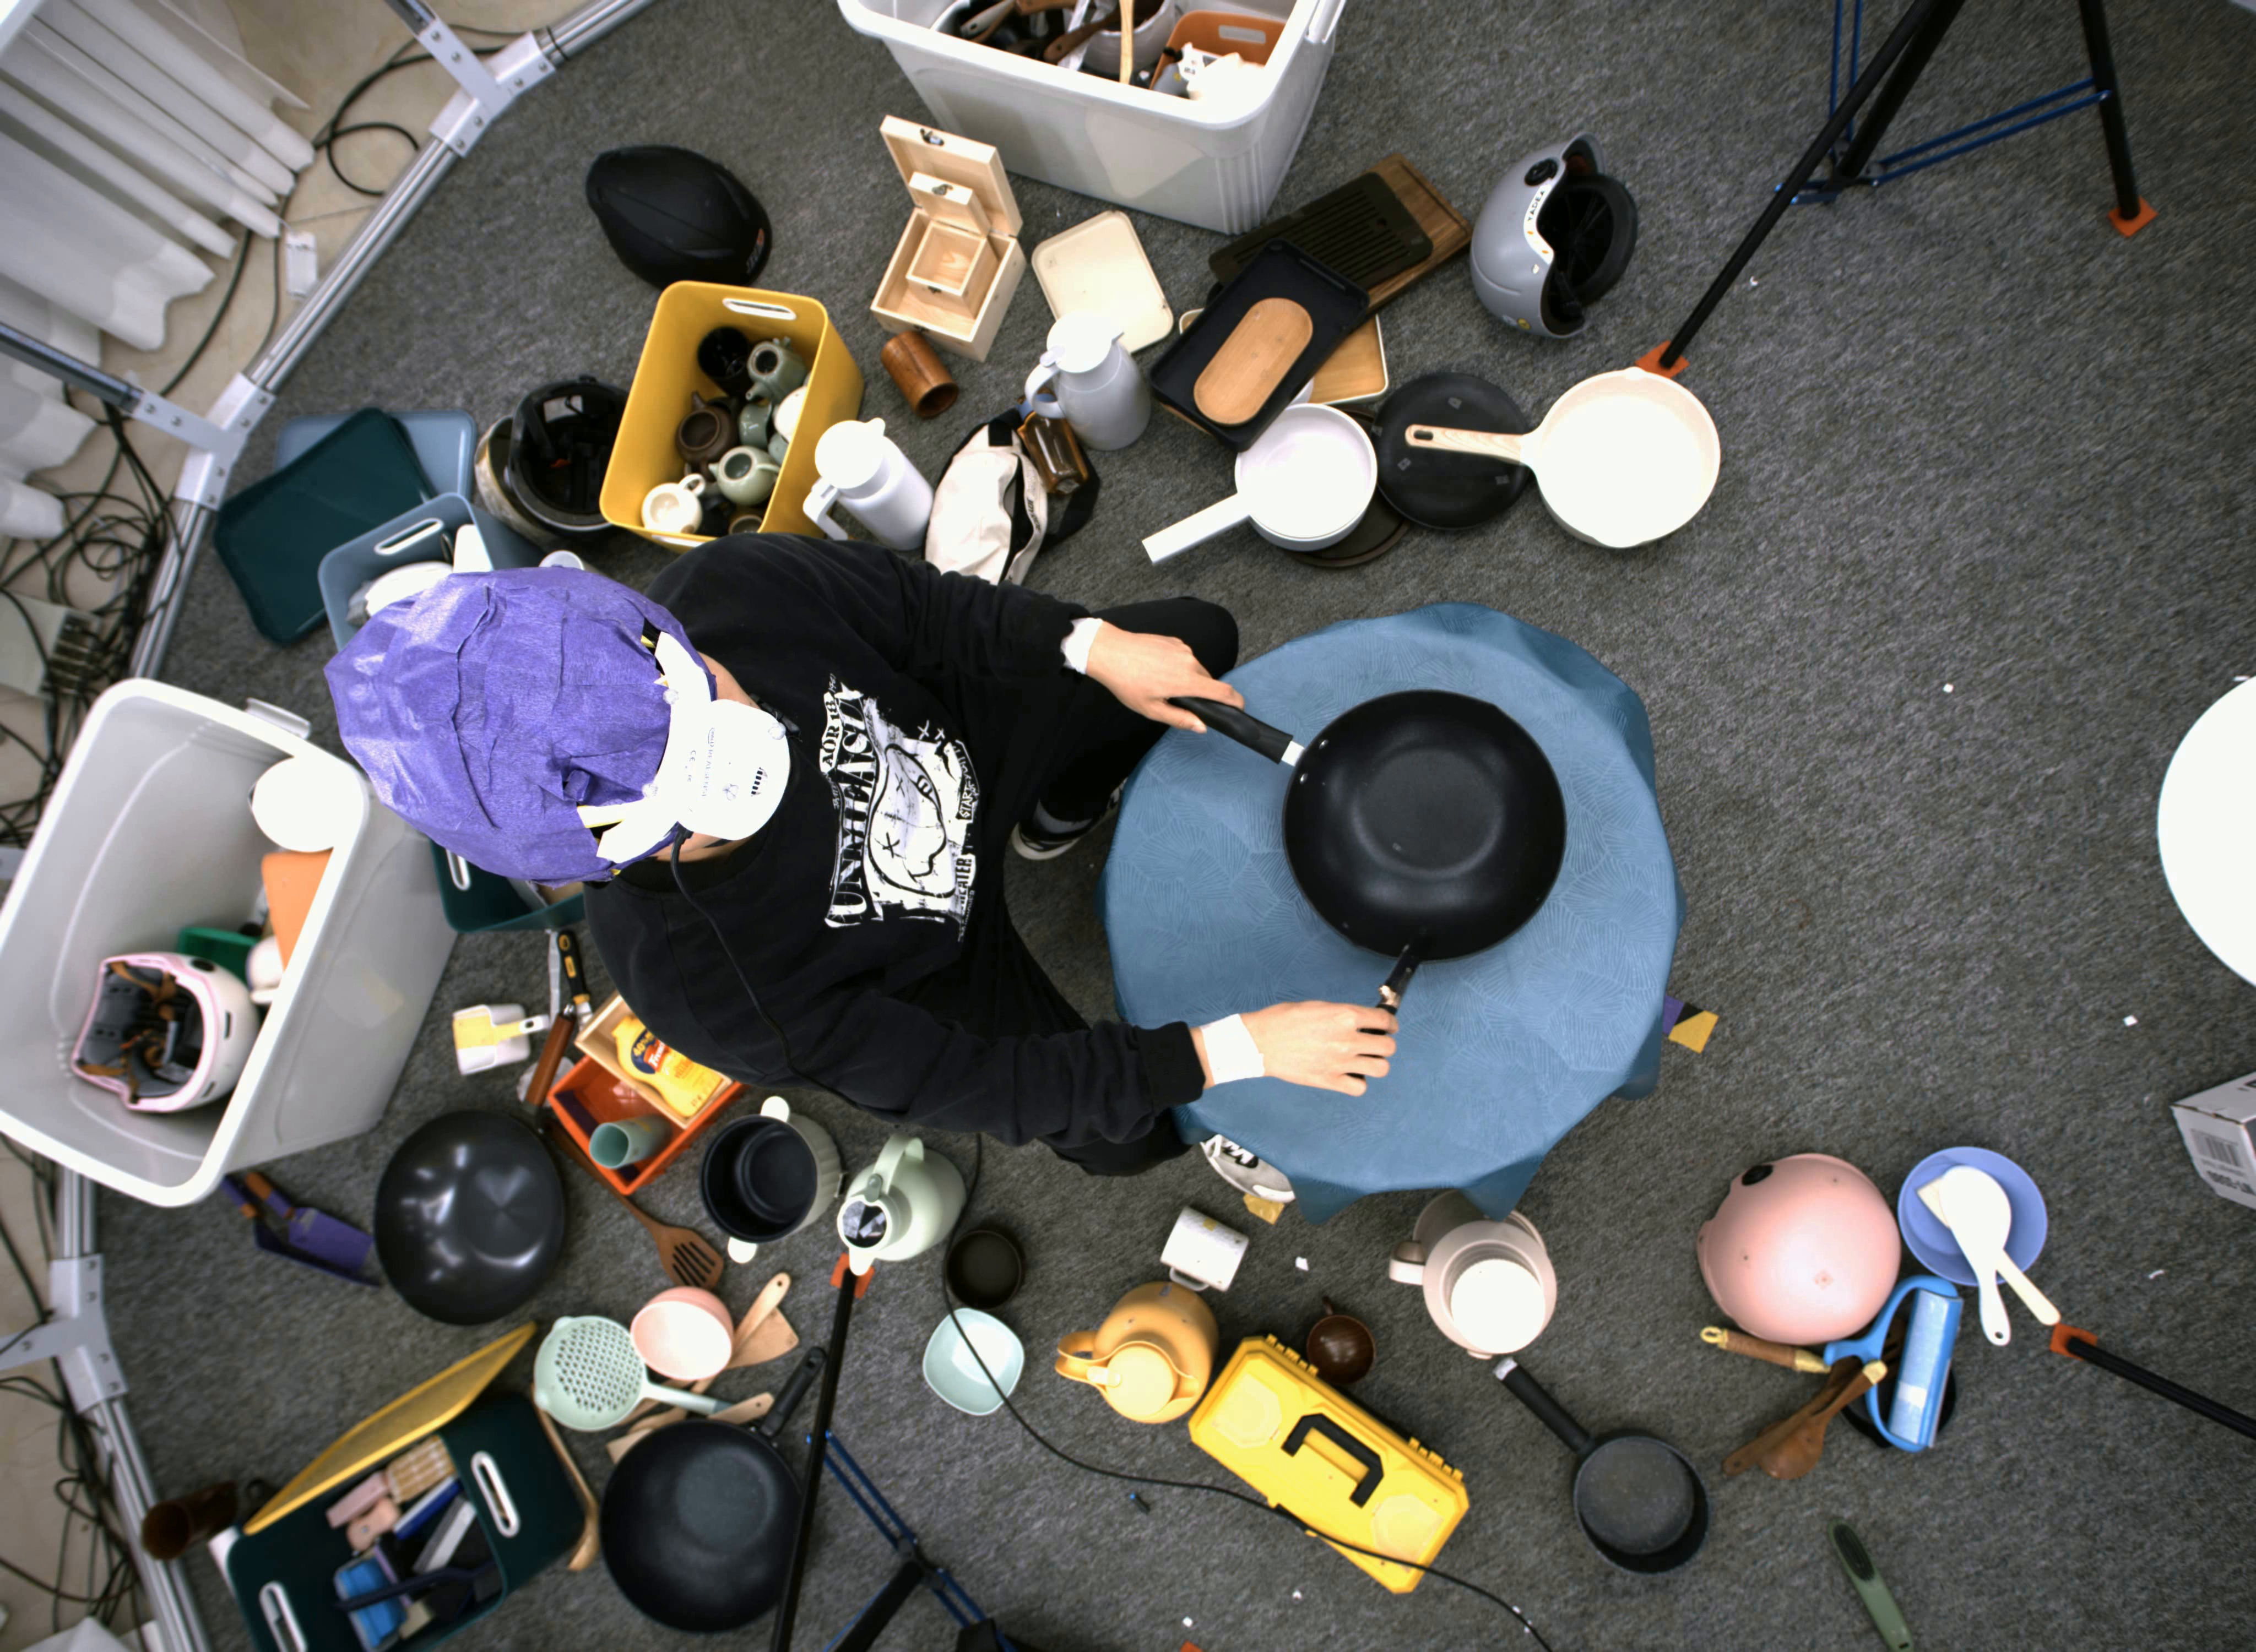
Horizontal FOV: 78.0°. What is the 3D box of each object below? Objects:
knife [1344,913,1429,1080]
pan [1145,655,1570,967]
[{"bbox_3d":[0.263,0.163,1.370,0.026,0.018,0.220,26,53,15],"label":"knife"},{"bbox_3d":[0.225,-0.050,1.404,0.462,0.085,0.294,31,115,8],"label":"pan"}]
